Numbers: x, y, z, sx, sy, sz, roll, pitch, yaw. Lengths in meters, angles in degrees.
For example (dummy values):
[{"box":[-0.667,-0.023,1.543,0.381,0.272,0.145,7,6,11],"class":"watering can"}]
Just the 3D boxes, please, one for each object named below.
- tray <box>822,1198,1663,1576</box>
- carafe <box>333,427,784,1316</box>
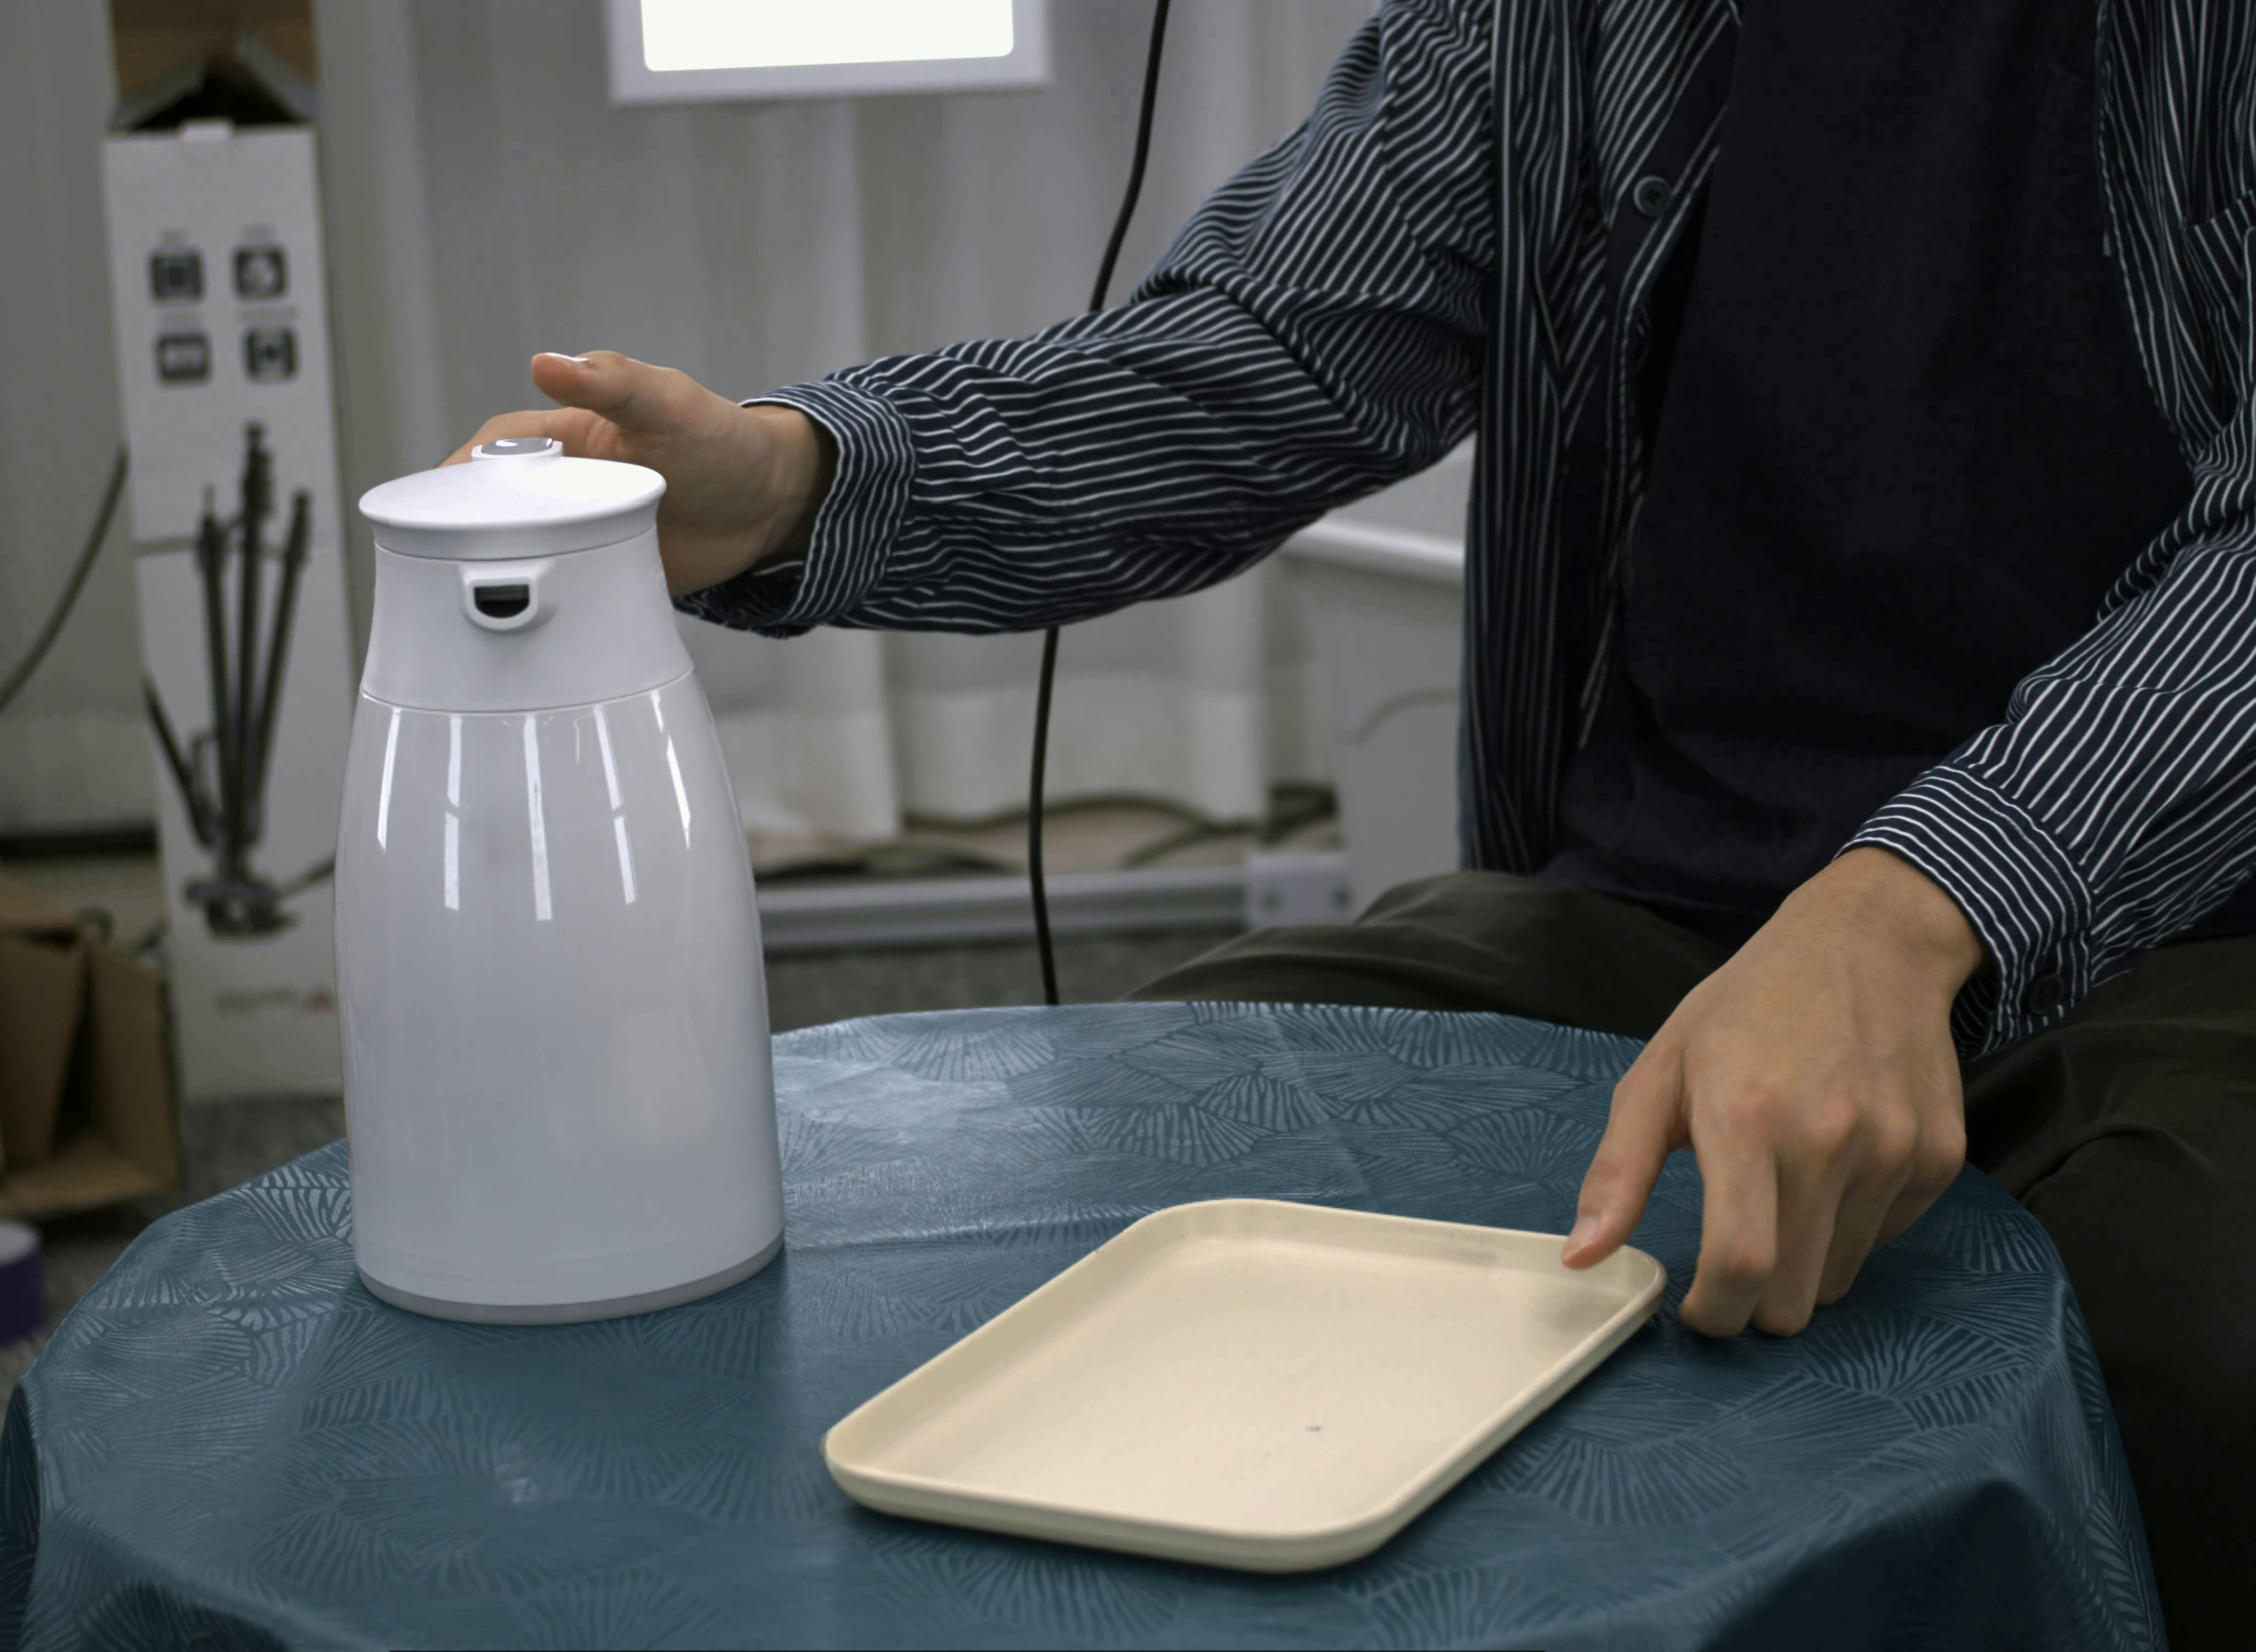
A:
[{"box":[0.036,0.155,1.525,0.171,0.017,0.240,5,17,27],"class":"tray"},{"box":[-0.181,0.005,1.677,0.132,0.248,0.169,-5,13,-6],"class":"carafe"}]
